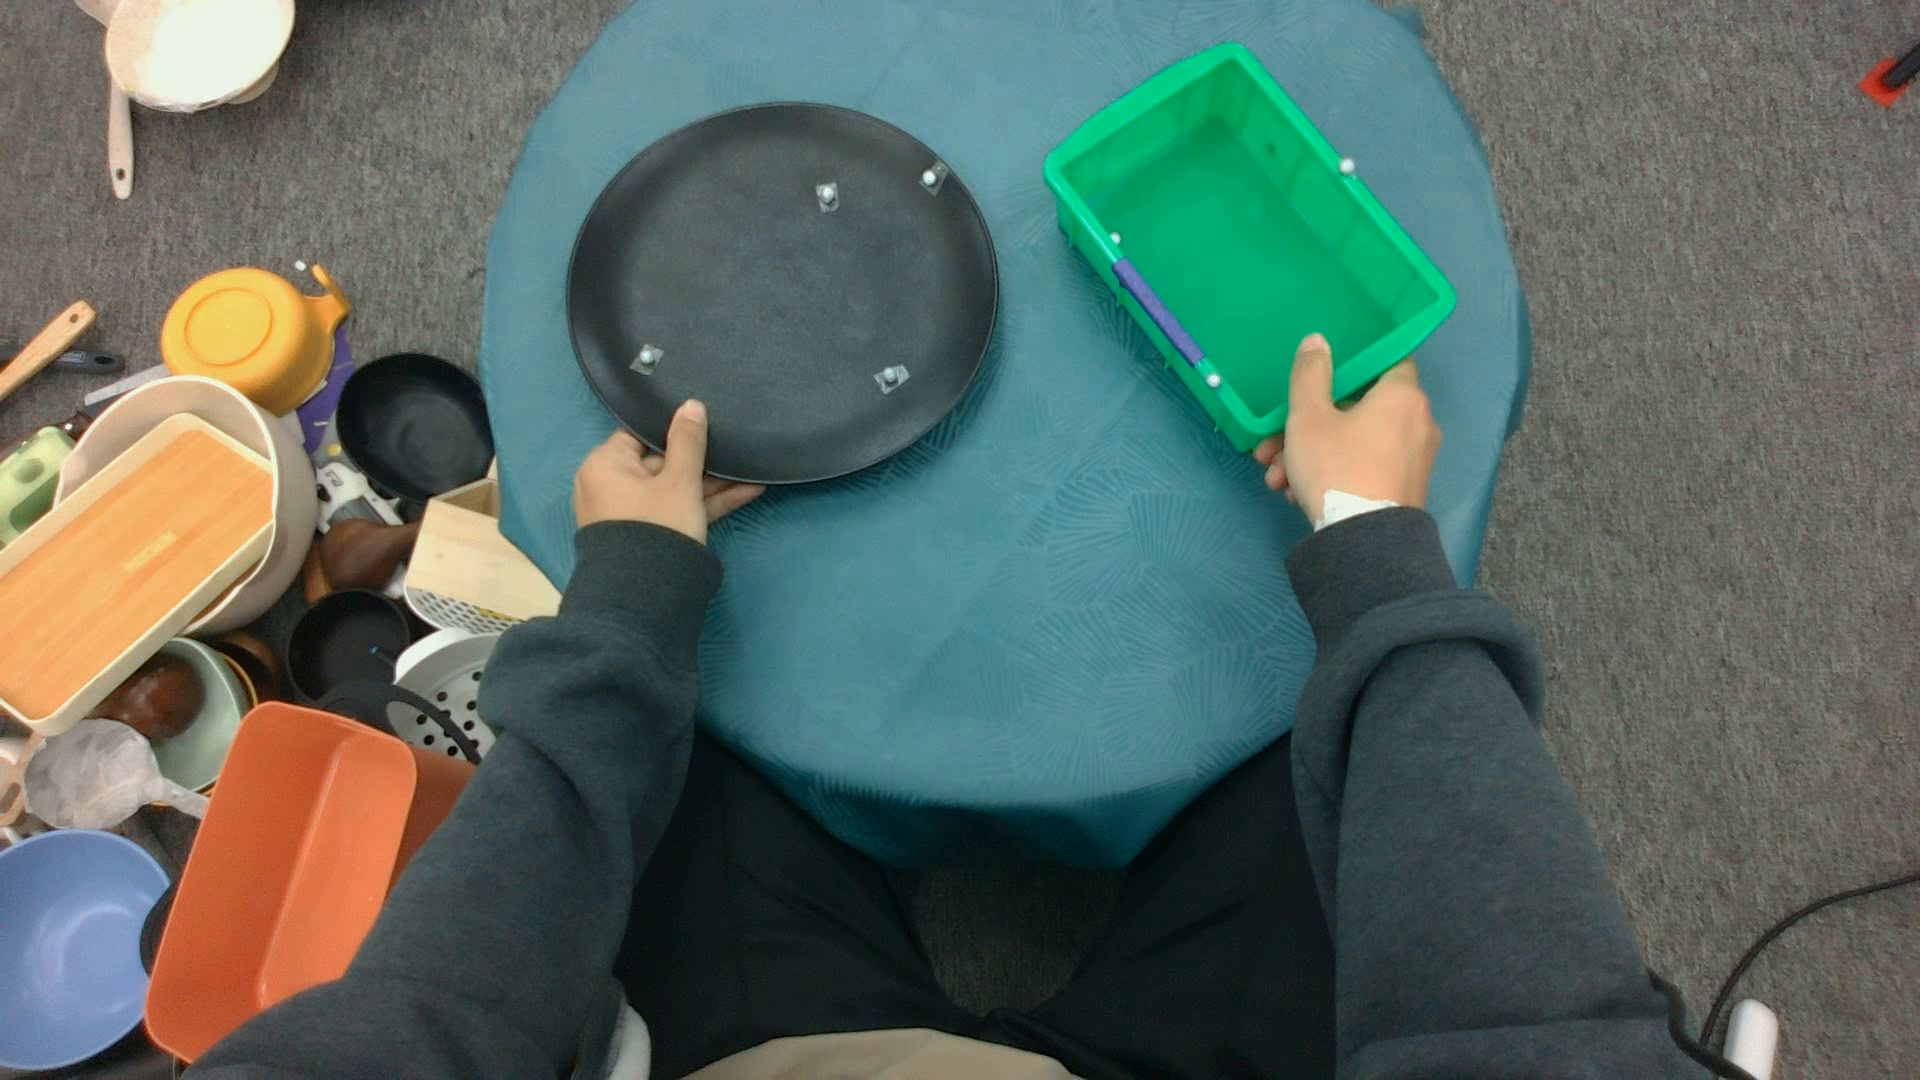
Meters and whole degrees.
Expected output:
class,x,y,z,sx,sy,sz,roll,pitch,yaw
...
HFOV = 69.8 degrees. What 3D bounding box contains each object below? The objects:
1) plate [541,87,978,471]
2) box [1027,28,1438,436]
class,x,y,z,sx,sy,sz,roll,pitch,yaw
plate,-0.112,-0.149,0.782,0.244,0.023,0.245,1,71,-2
box,0.146,-0.167,0.769,0.139,0.065,0.210,-36,79,-6
